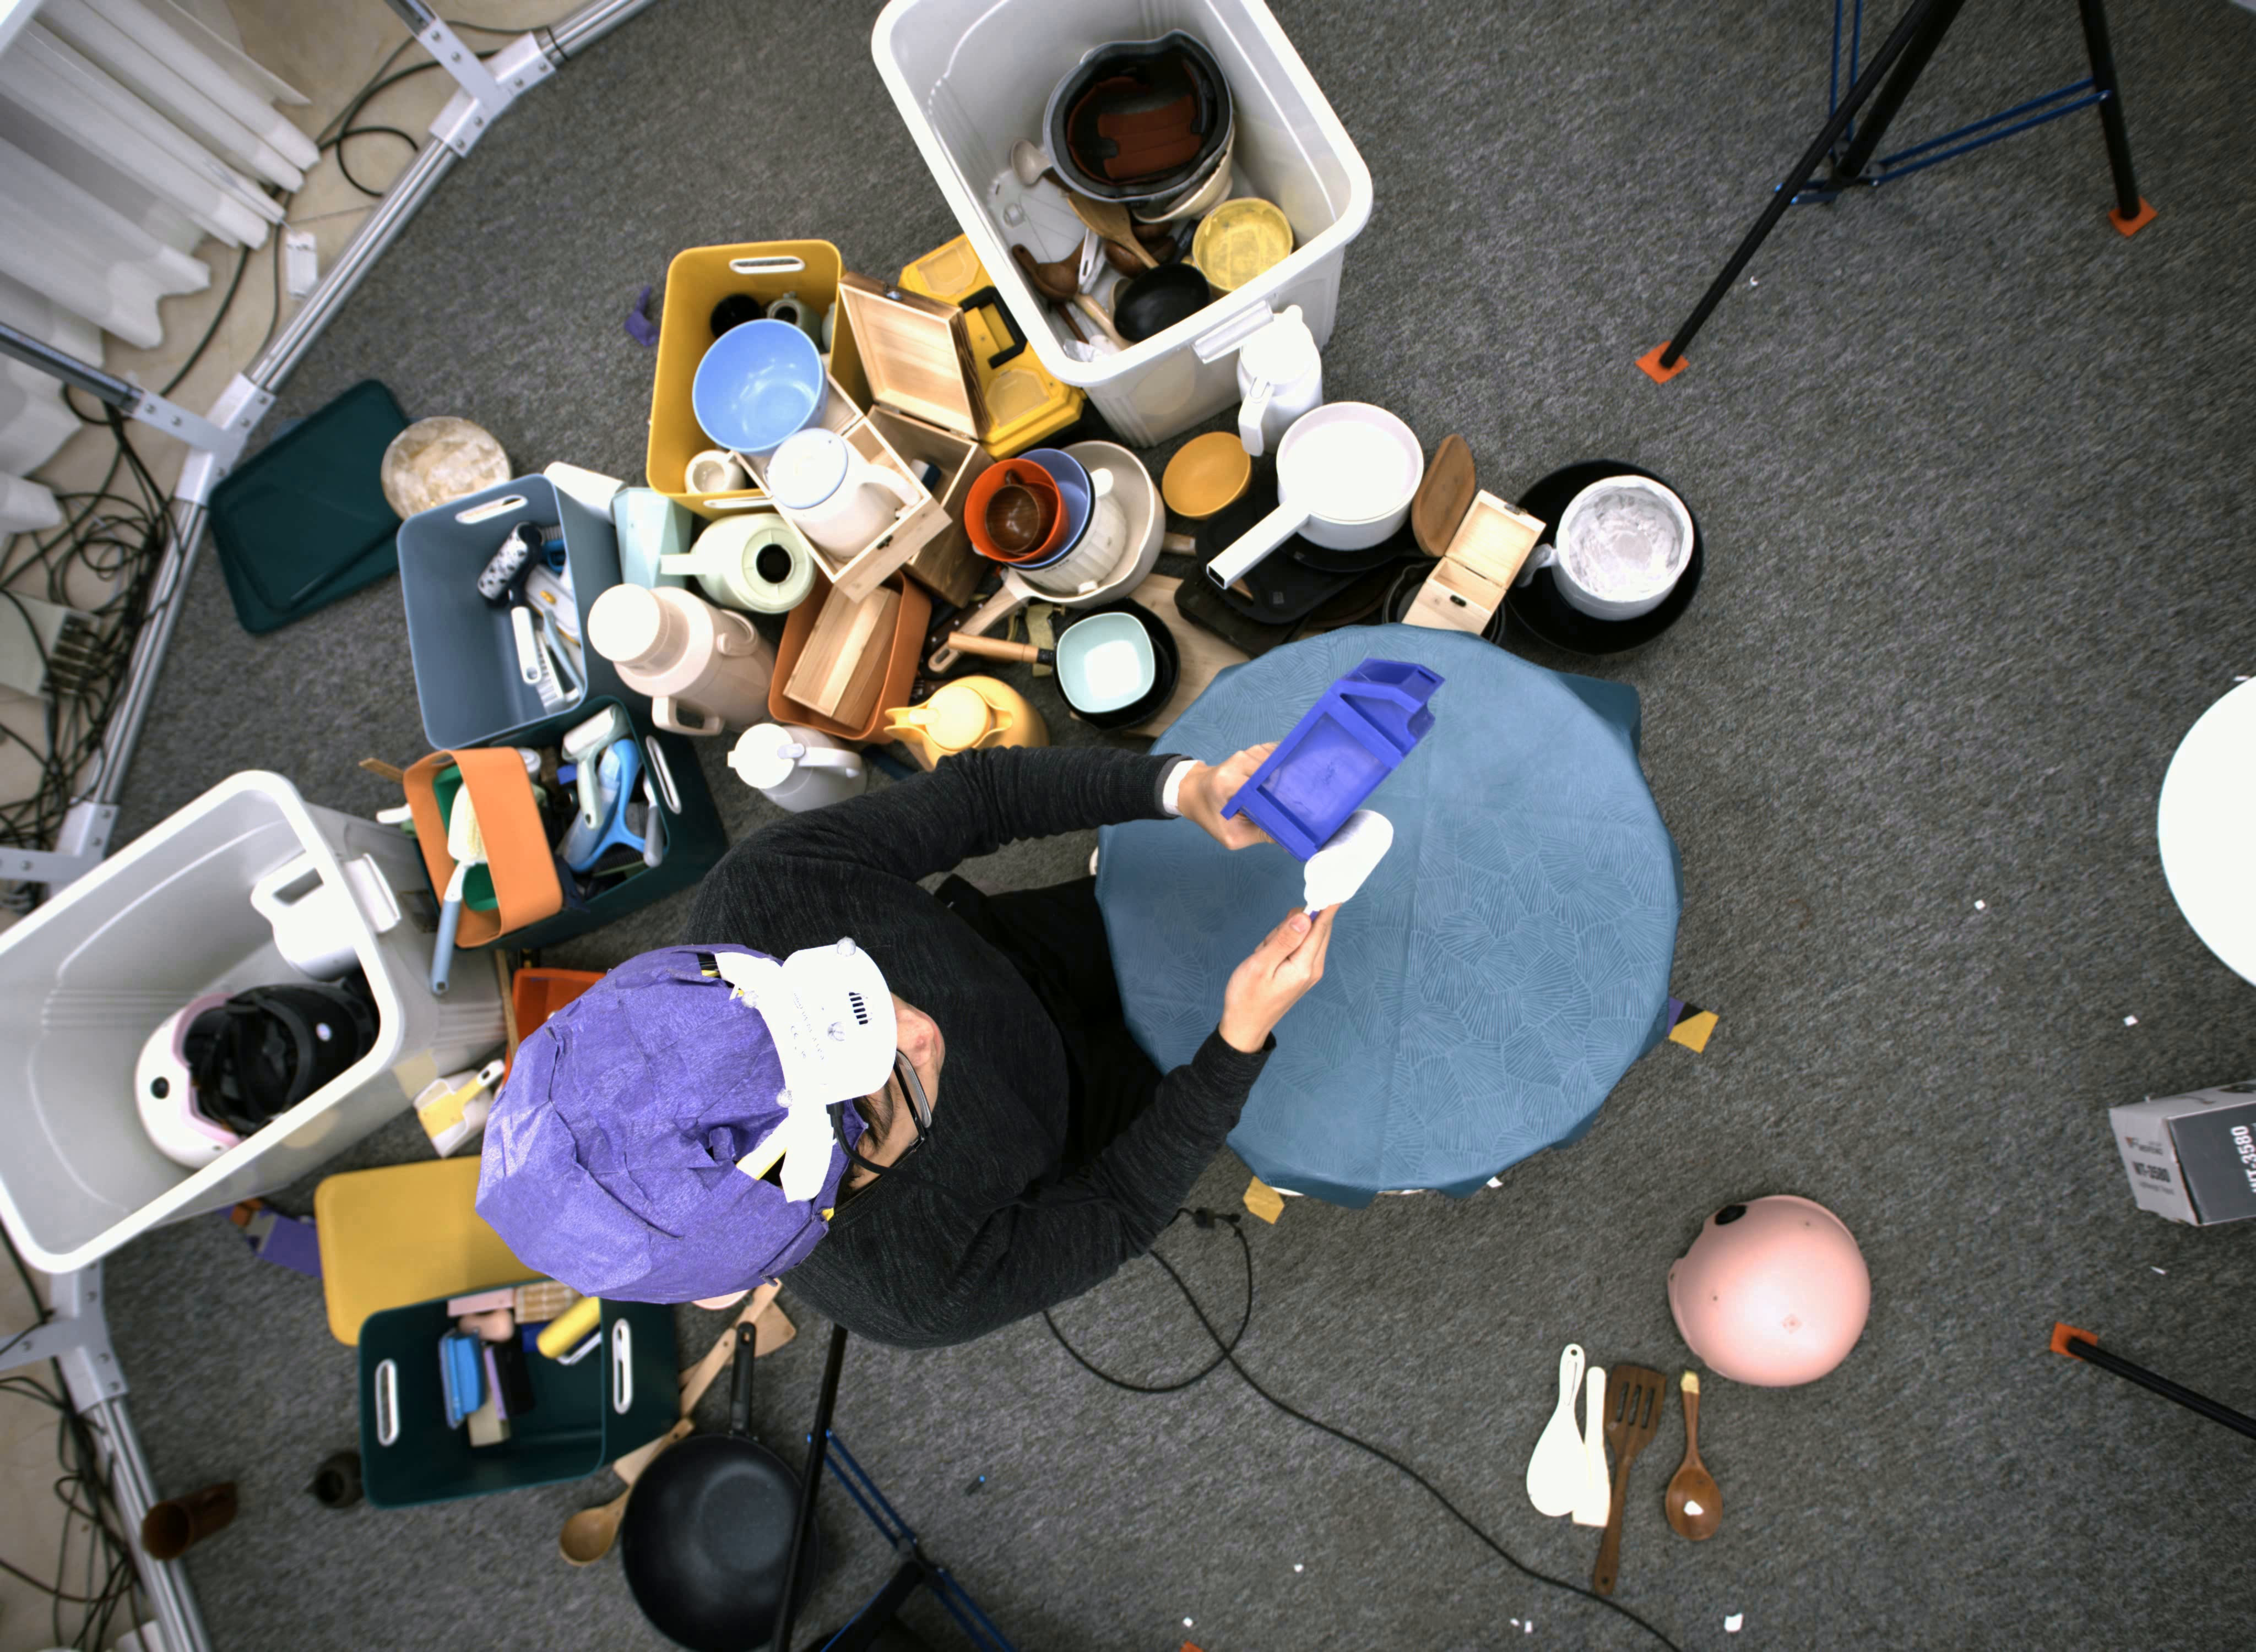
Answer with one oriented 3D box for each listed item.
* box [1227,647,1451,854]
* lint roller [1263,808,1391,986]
[{"bbox_3d":[0.181,-0.070,1.132,0.081,0.122,0.183,41,118,7],"label":"box"},{"bbox_3d":[0.166,0.077,1.198,0.050,0.130,0.185,28,121,14],"label":"lint roller"}]
